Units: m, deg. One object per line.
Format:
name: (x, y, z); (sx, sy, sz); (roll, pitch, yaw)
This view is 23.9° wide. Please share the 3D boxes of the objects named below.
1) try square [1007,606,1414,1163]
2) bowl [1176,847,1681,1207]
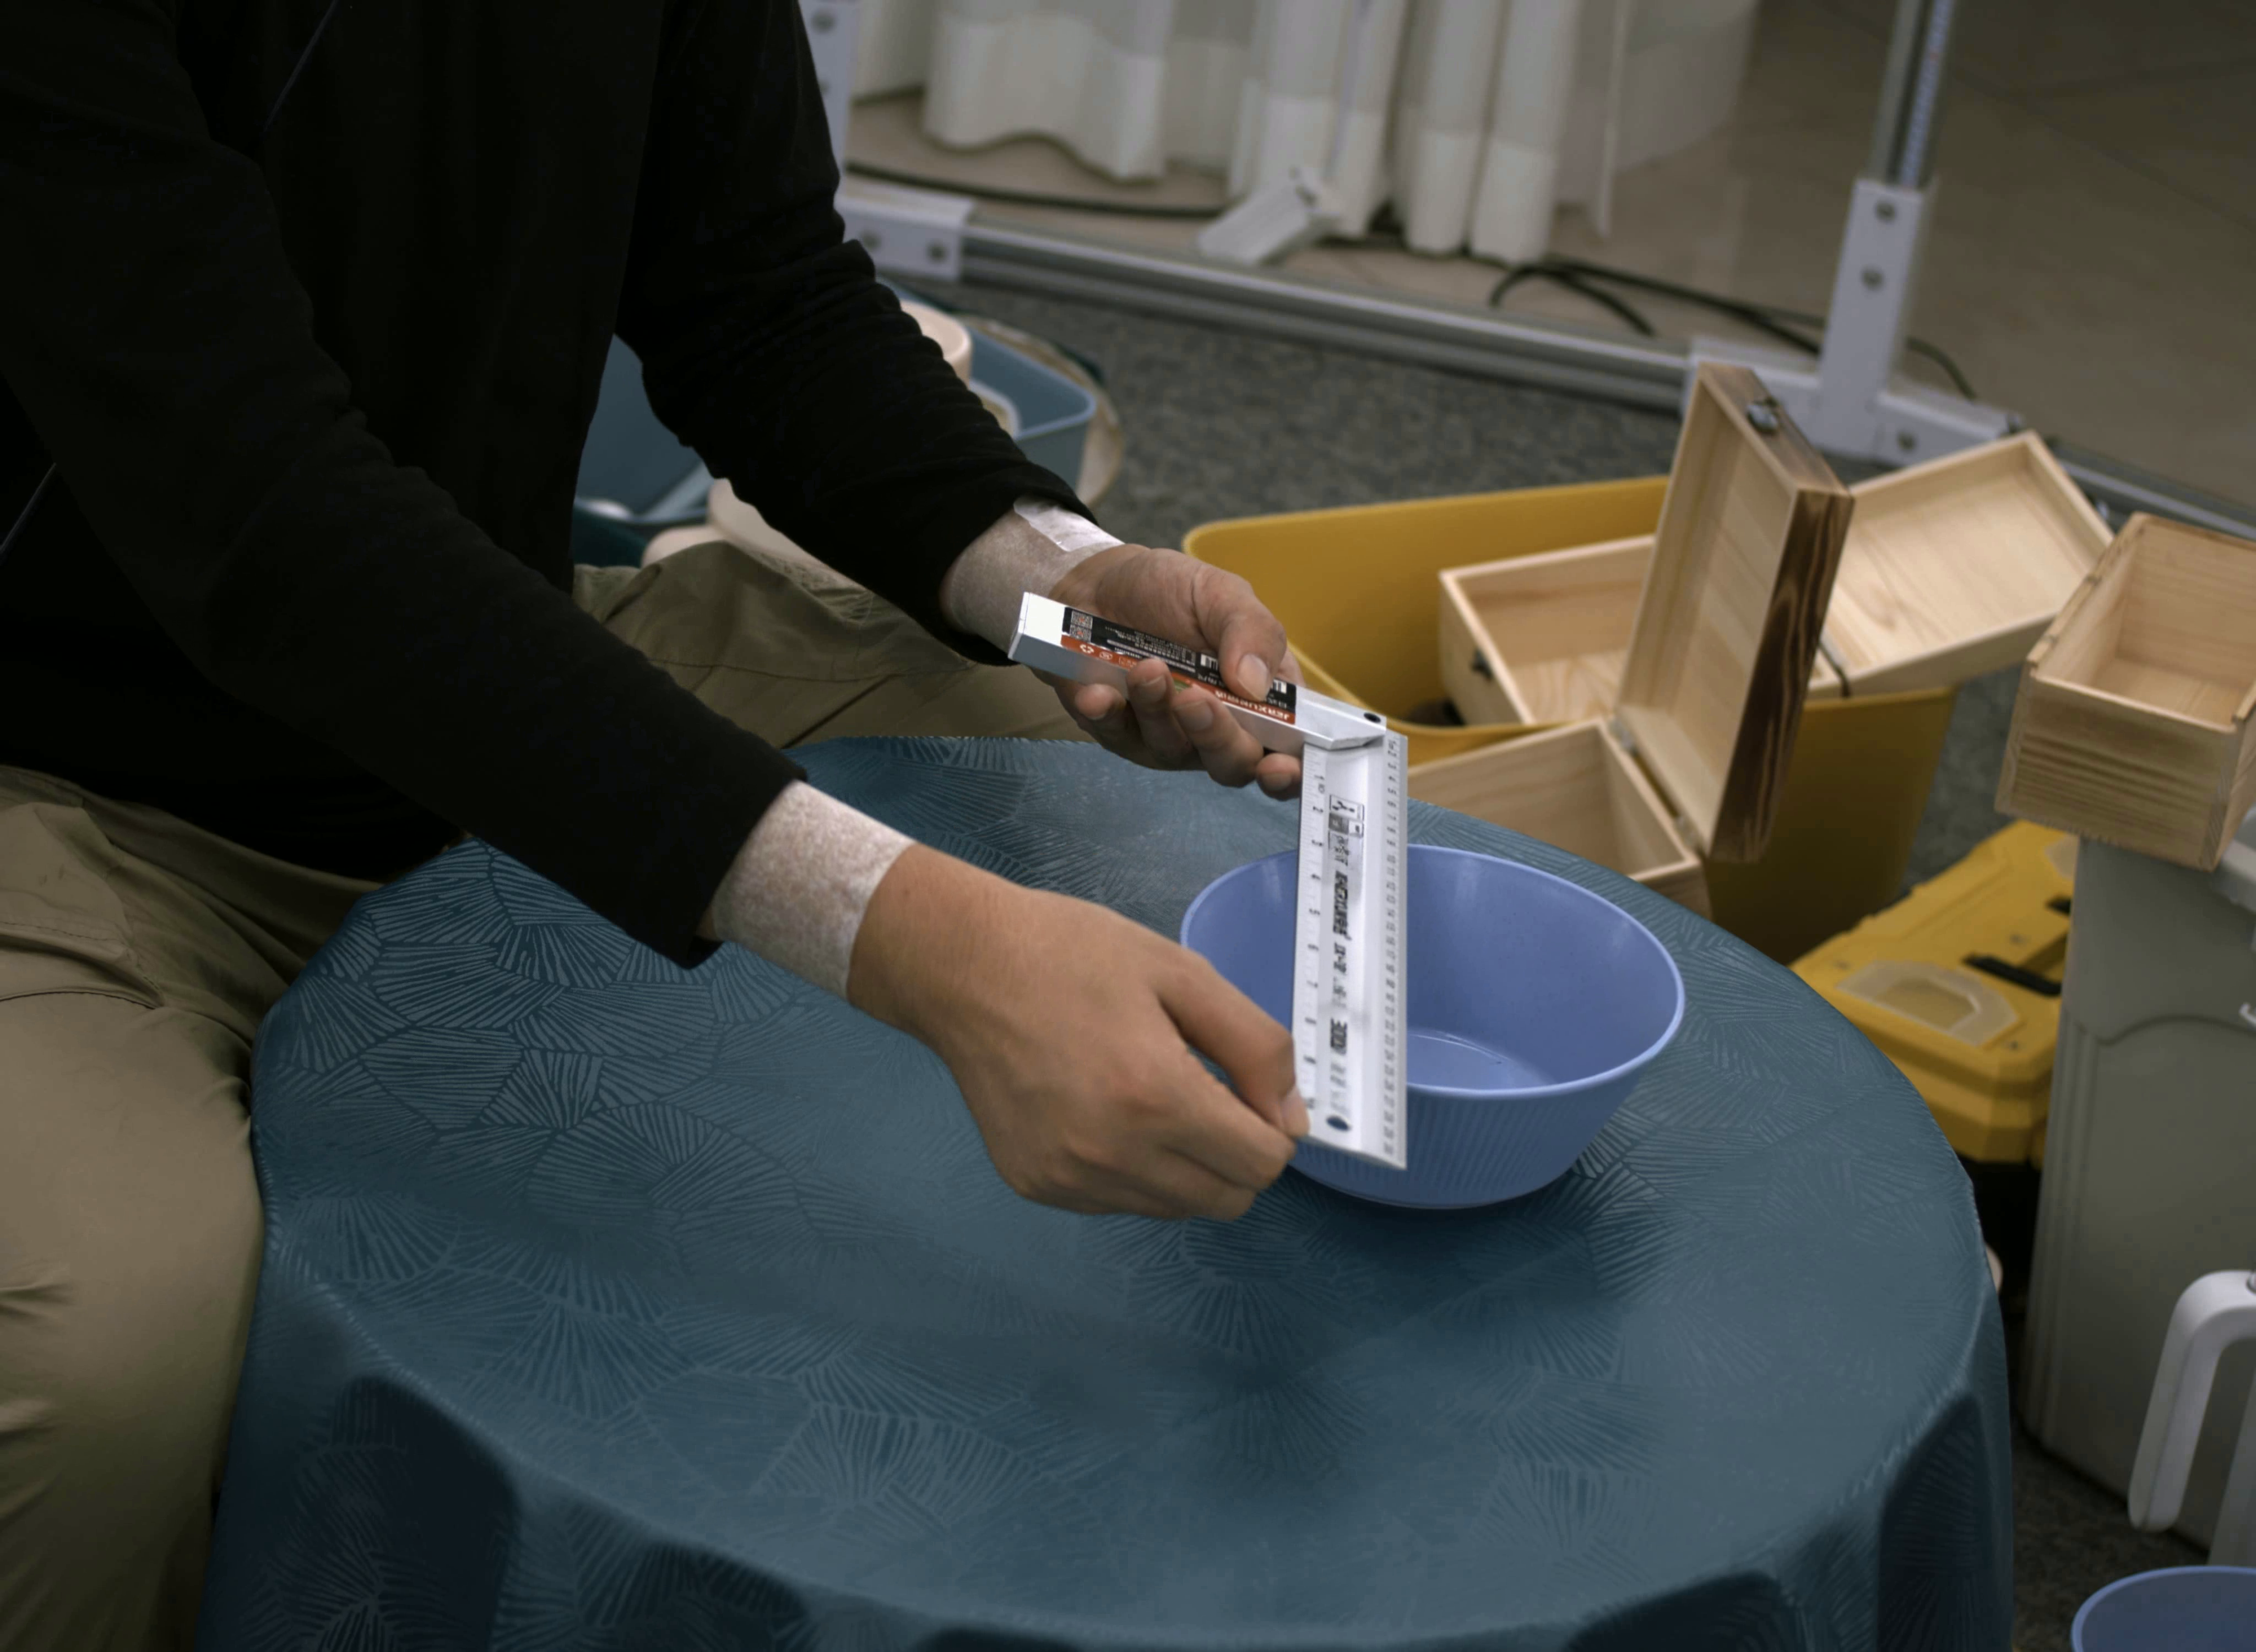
try square: (0.024, 0.014, 1.802); (0.152, 0.016, 0.314); (16, 27, -5)
bowl: (0.100, 0.075, 1.844); (0.175, 0.070, 0.177); (5, 27, -3)
